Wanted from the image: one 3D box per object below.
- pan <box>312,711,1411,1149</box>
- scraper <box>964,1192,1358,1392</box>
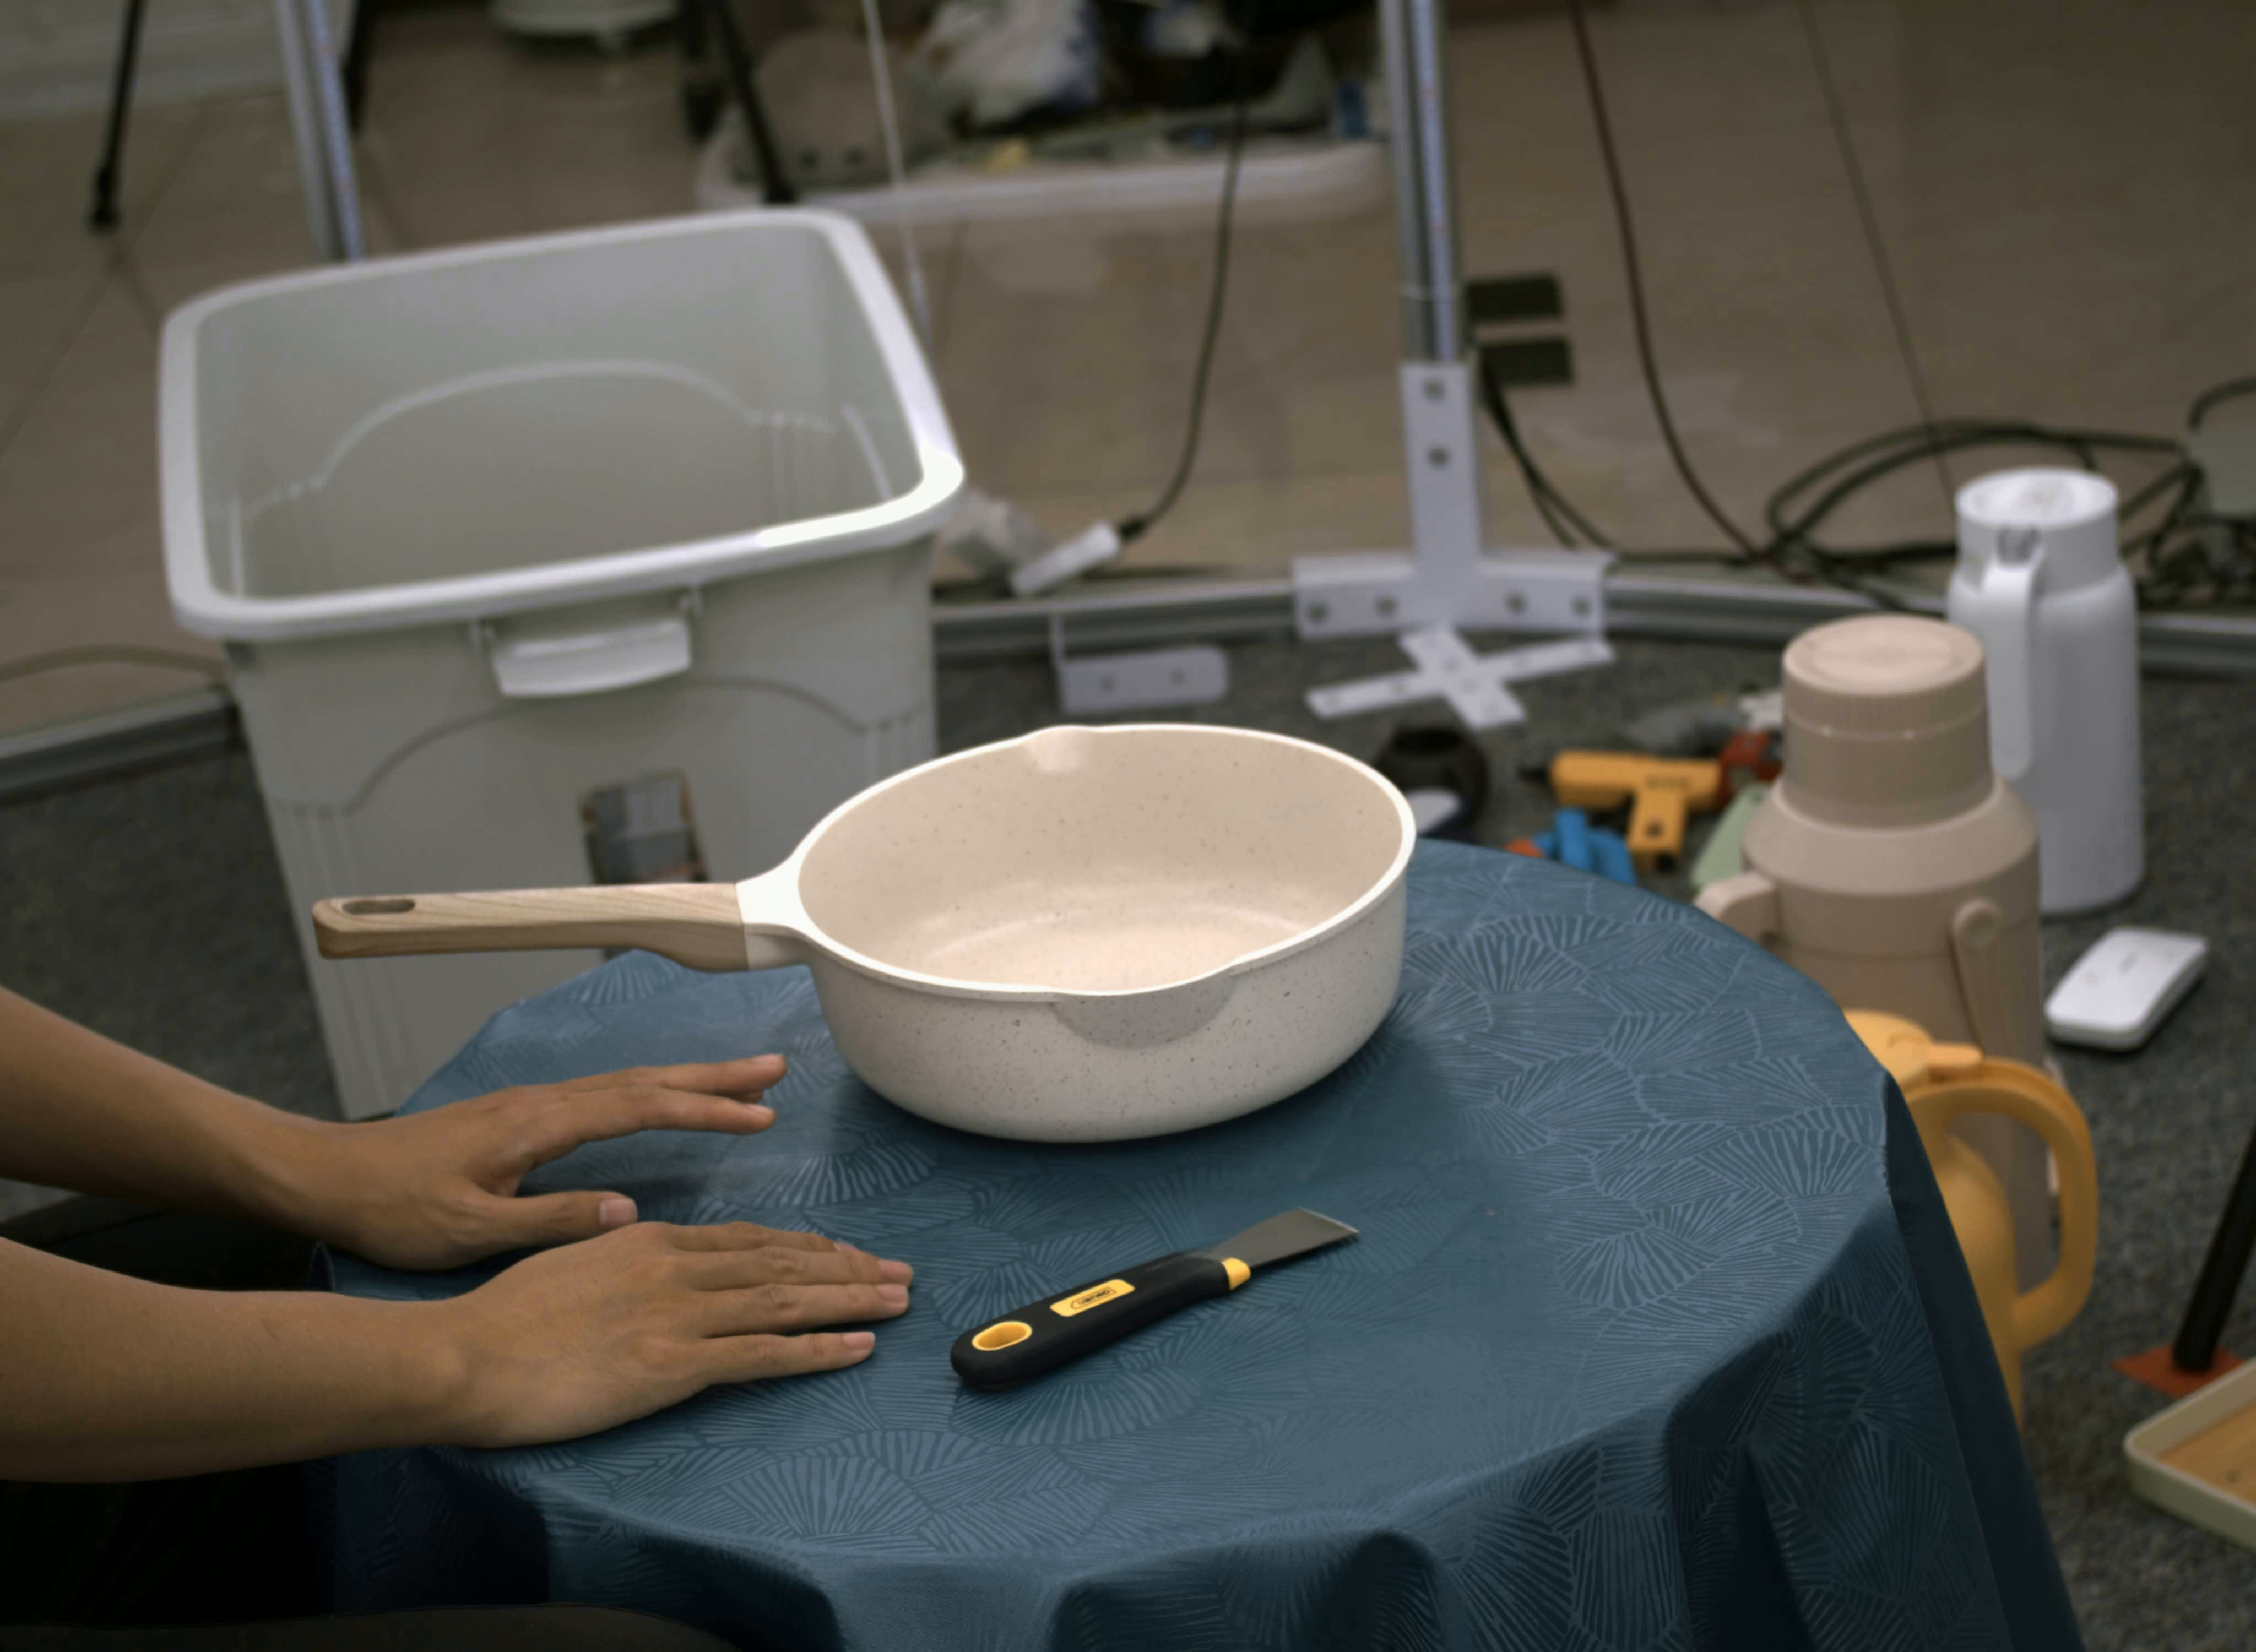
[{"bbox_3d":[-0.100,0.053,2.250,0.434,0.104,0.259,-9,28,-5],"label":"pan"},{"bbox_3d":[0.011,0.170,2.066,0.170,0.015,0.038,-21,33,-34],"label":"scraper"}]
